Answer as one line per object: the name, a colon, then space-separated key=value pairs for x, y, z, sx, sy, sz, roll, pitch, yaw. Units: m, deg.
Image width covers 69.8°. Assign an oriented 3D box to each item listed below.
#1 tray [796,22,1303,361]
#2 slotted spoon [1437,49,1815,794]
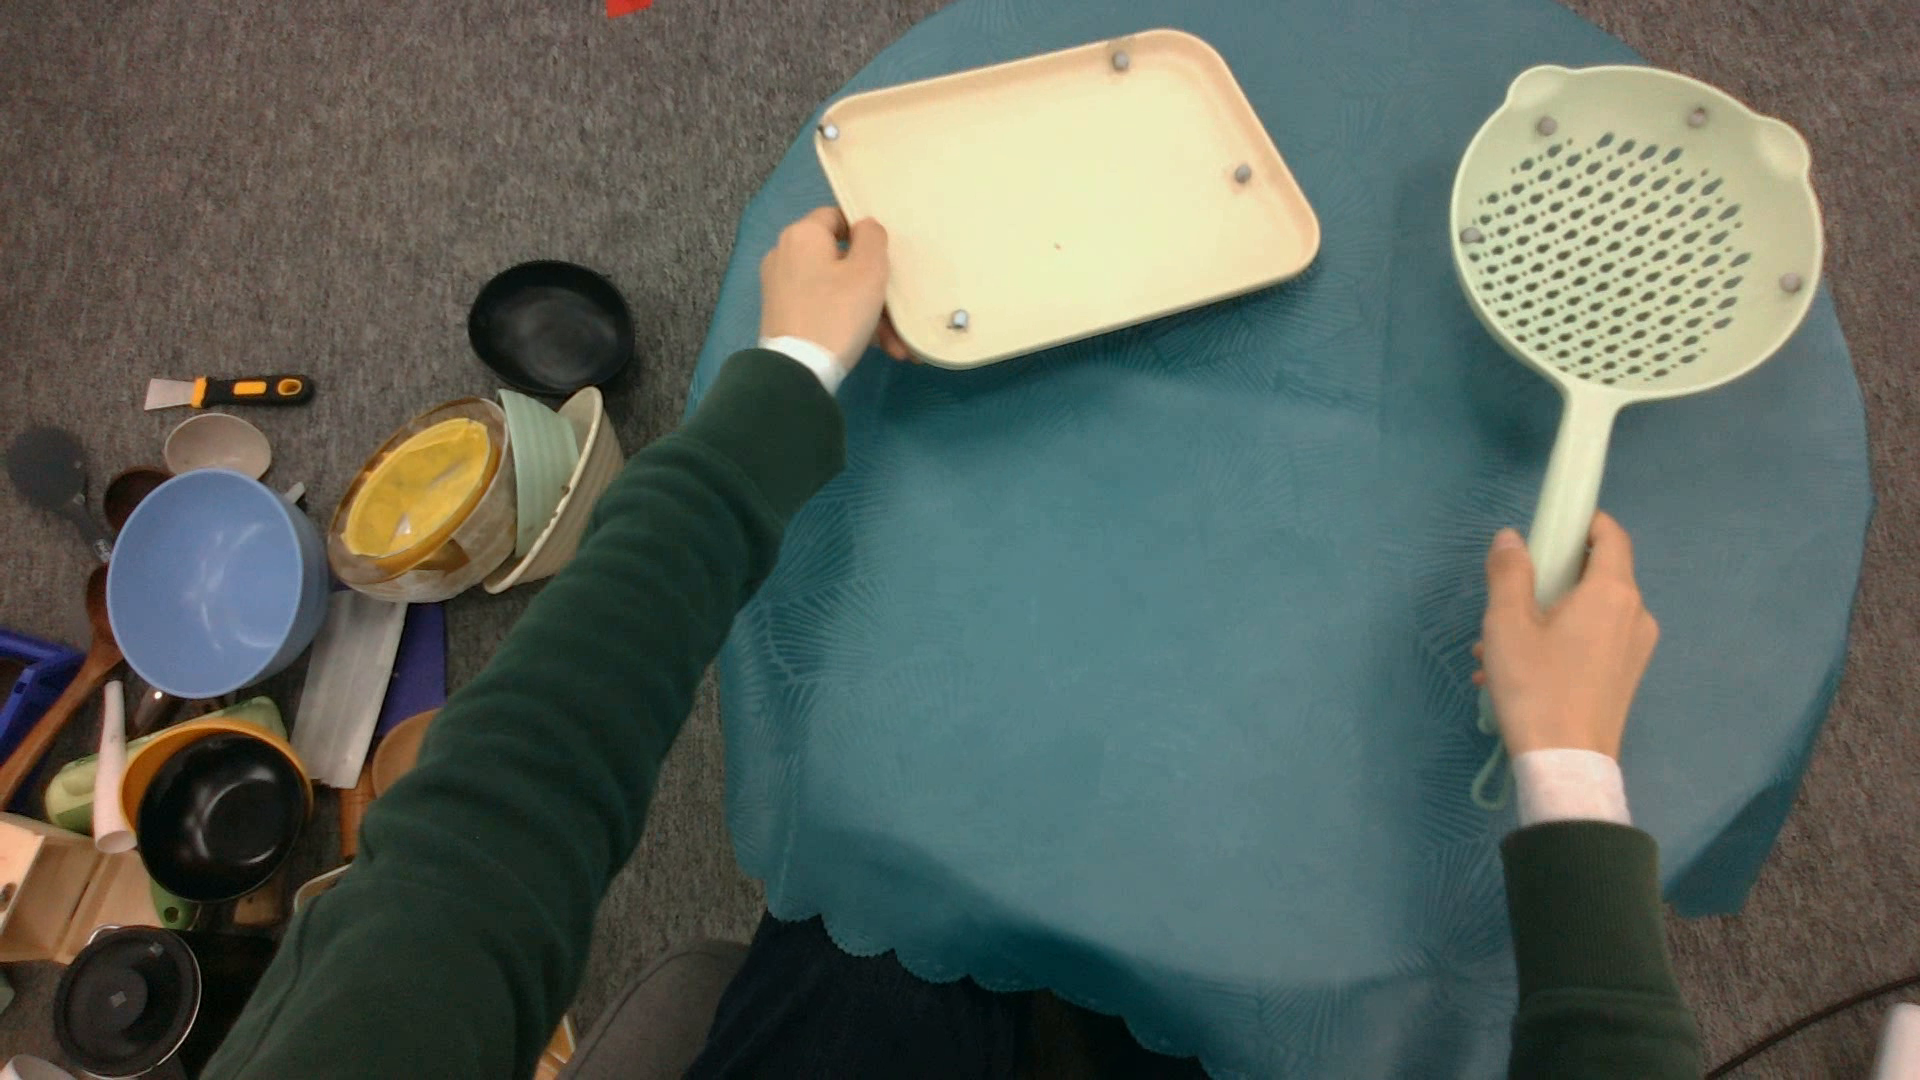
tray: x=0.047 y=-0.184 z=0.713 sx=0.240 sy=0.017 sz=0.171 roll=-16 pitch=70 yaw=-16
slotted spoon: x=0.283 y=-0.060 z=0.636 sx=0.169 sy=0.075 sz=0.360 roll=16 pitch=71 yaw=11
